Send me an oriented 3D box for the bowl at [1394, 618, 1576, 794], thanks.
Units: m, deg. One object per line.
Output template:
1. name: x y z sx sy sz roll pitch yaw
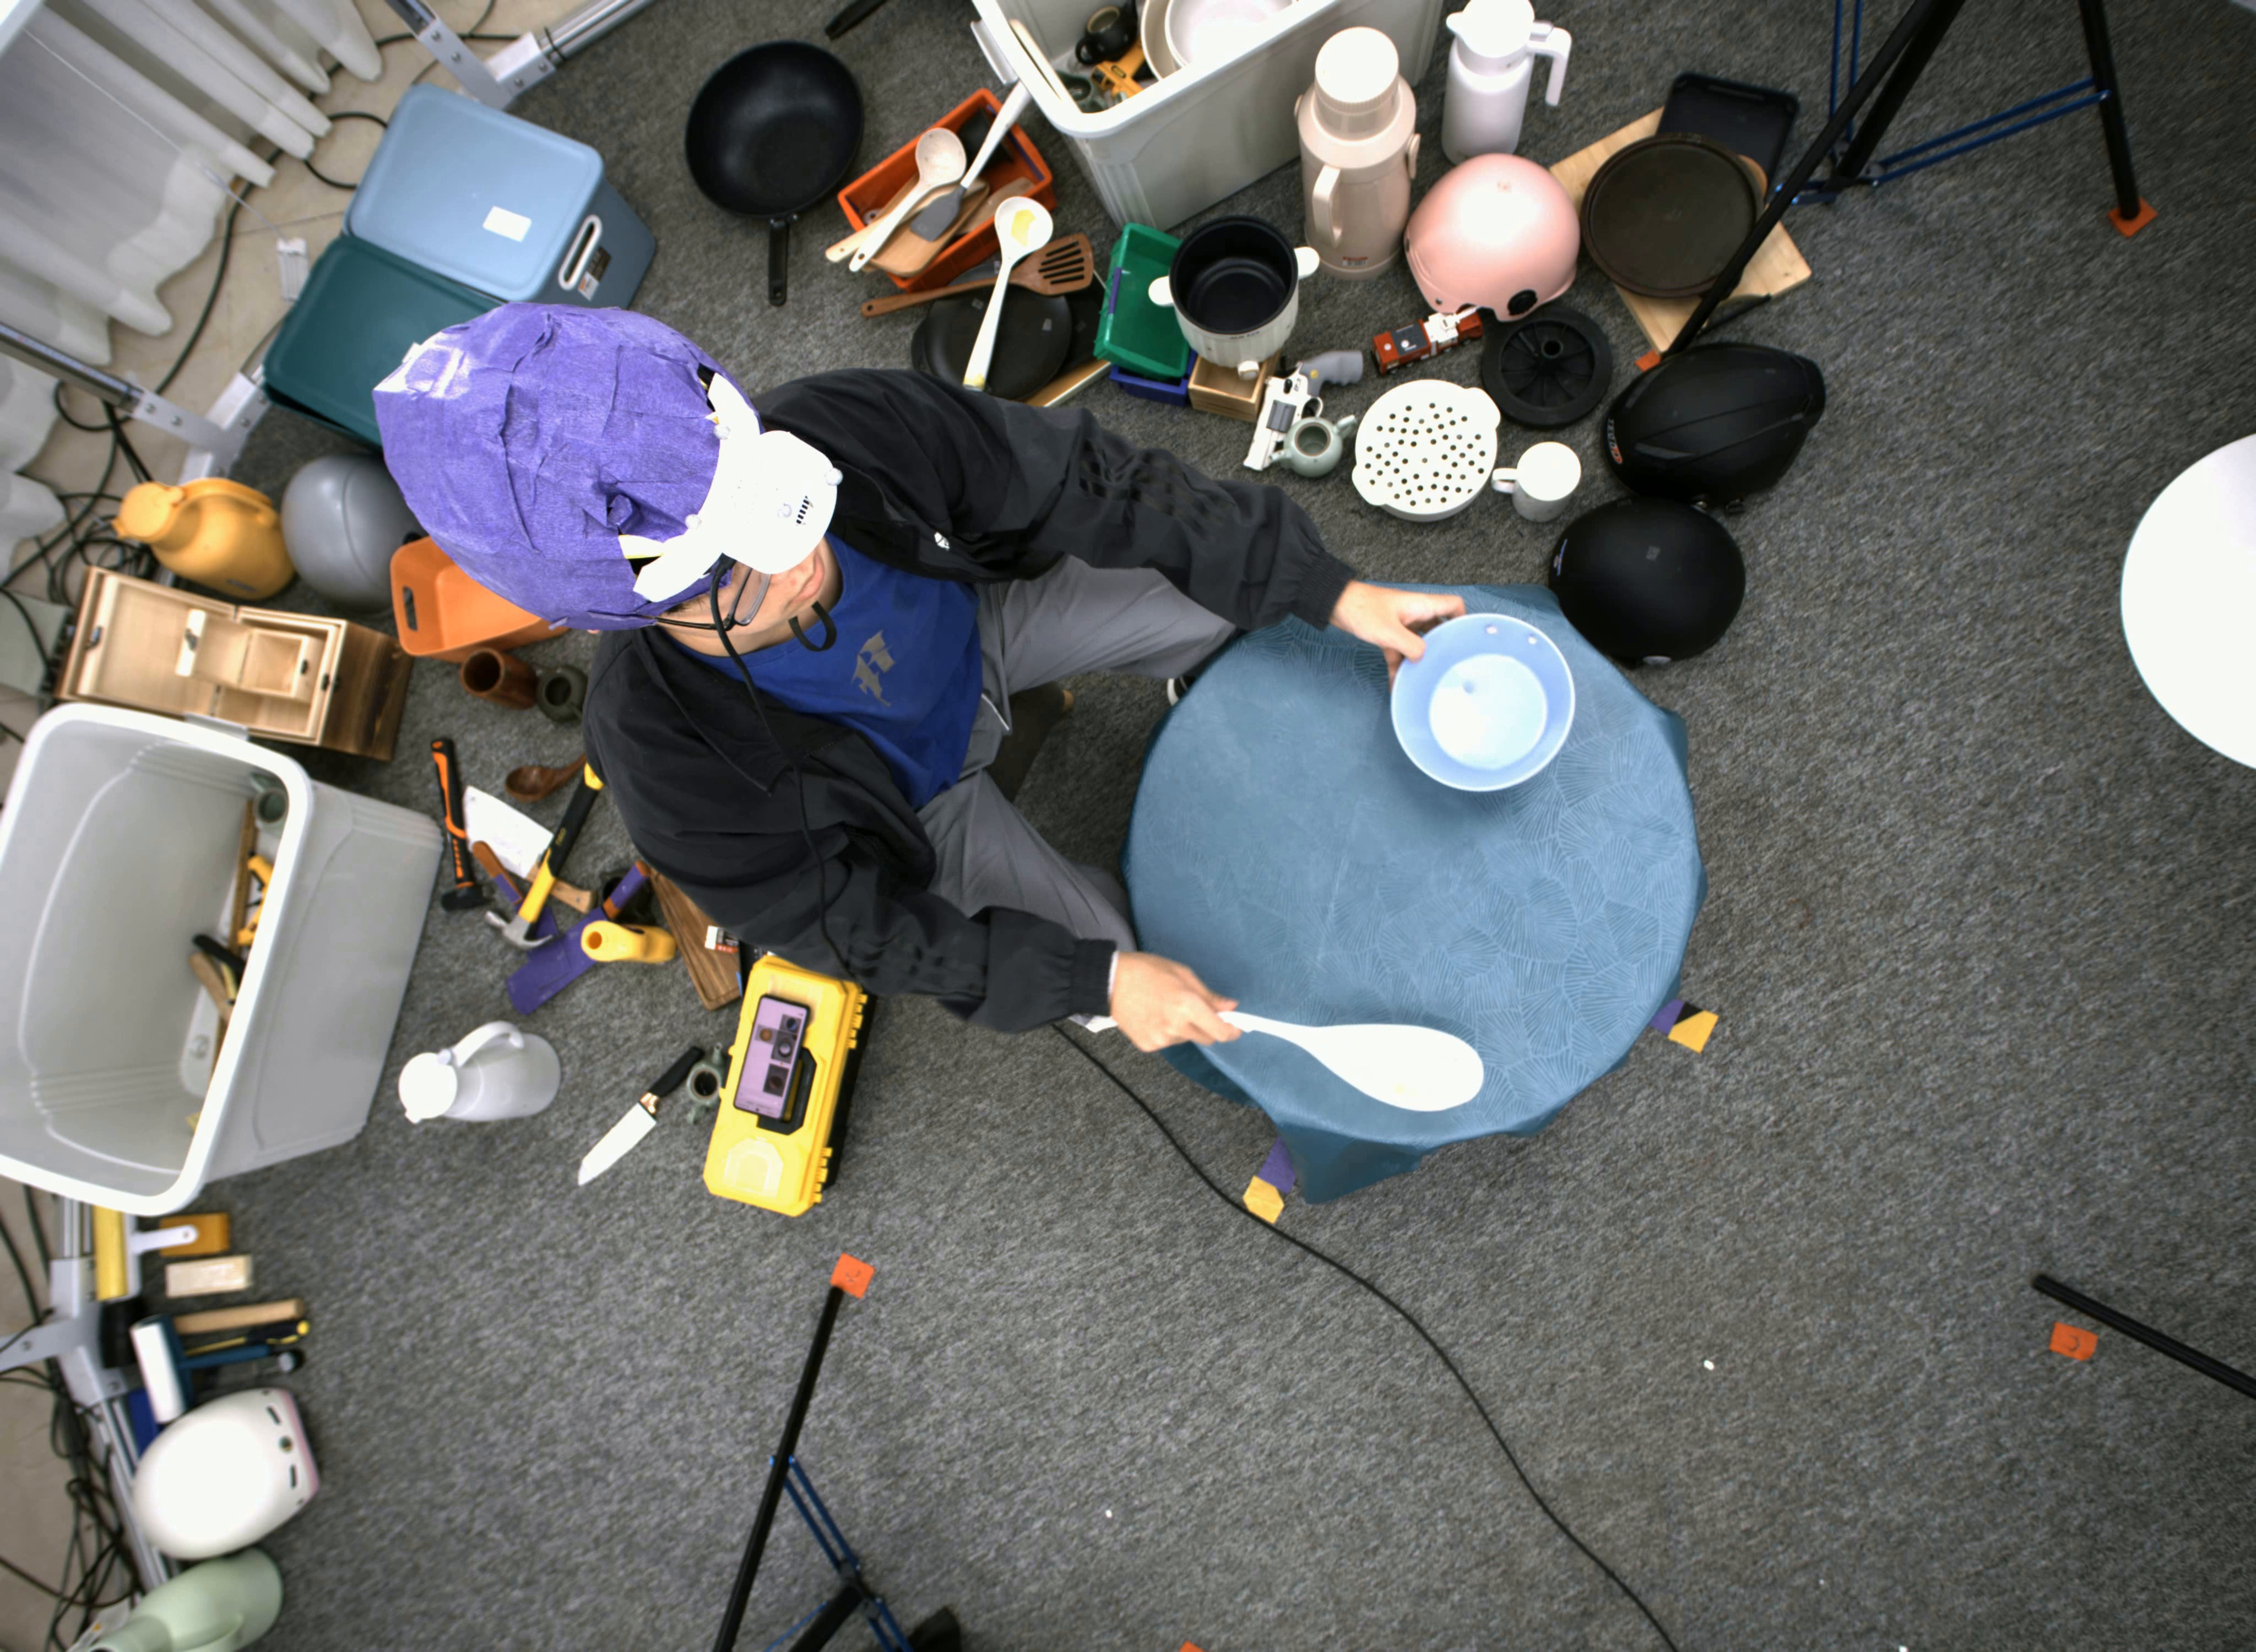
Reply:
1. bowl: 0.358 -0.117 1.367 0.177 0.070 0.175 -2 86 23

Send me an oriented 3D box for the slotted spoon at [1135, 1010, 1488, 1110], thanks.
1. slotted spoon: 0.176 0.213 1.367 0.348 0.133 0.051 14 123 14
